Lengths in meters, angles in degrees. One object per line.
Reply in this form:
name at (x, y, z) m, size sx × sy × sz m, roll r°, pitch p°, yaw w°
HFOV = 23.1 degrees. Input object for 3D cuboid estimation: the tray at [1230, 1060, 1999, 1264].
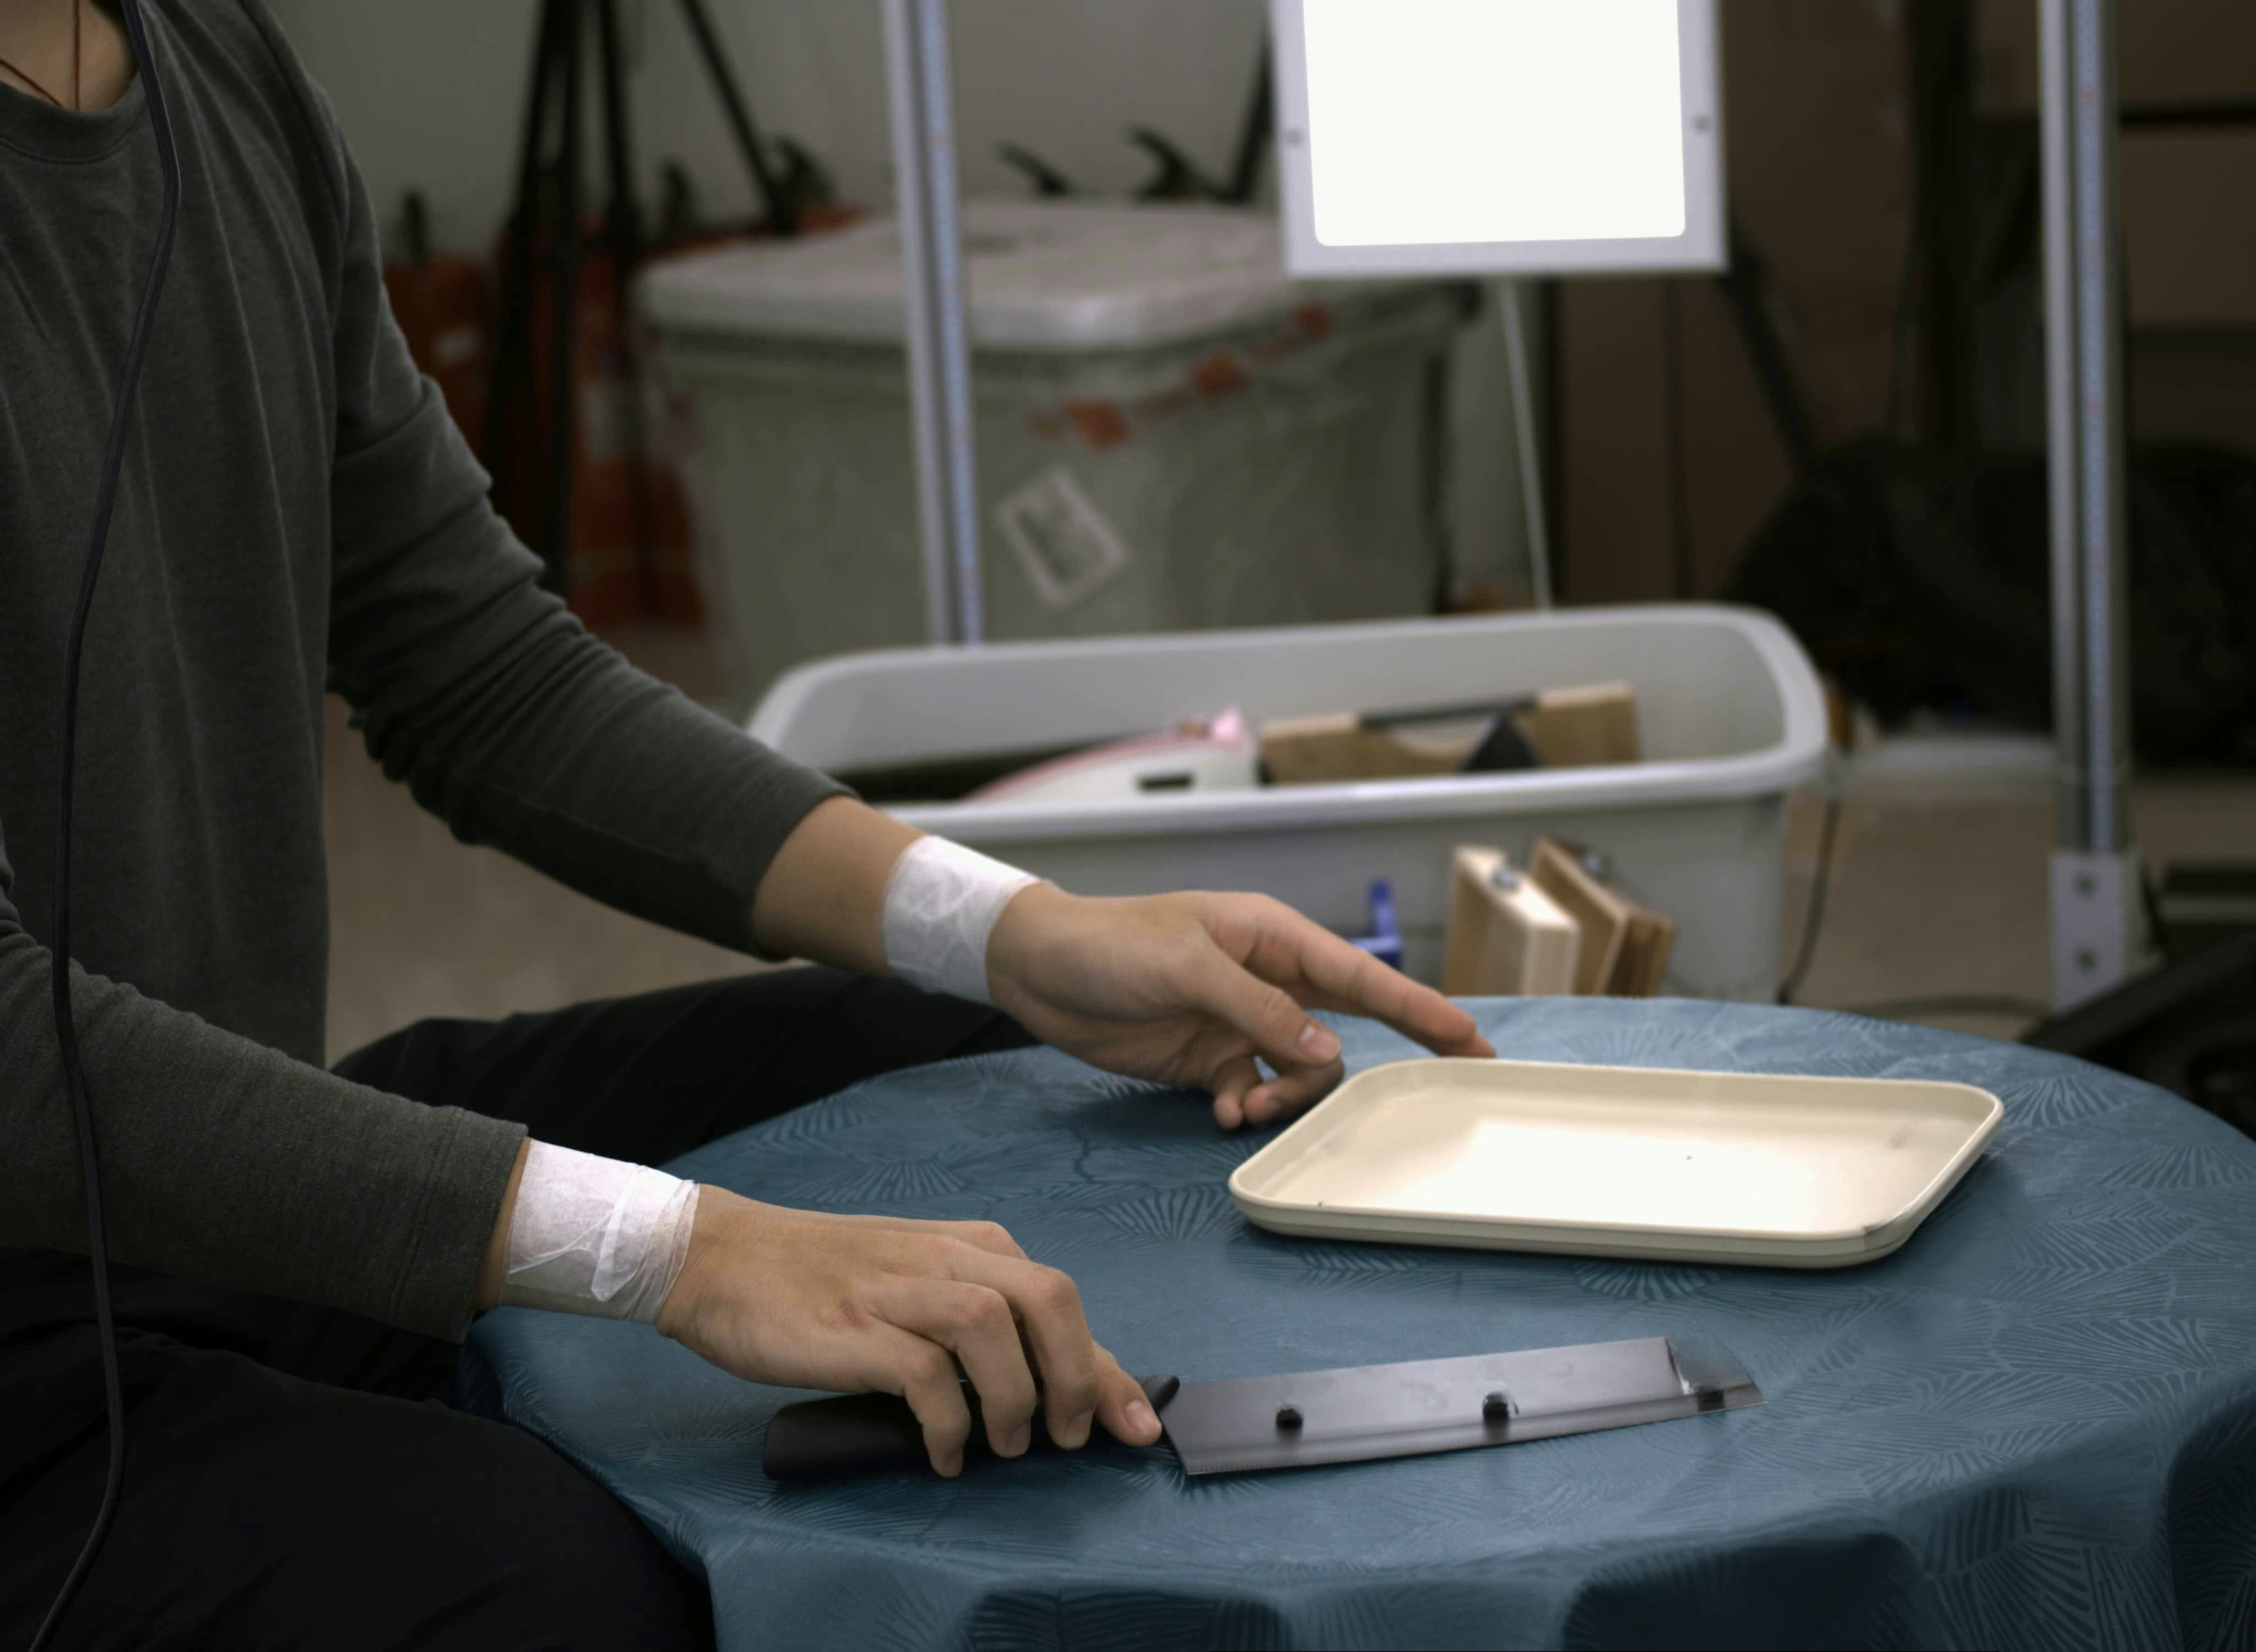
tray at (0.167, 0.113, 1.857) m, size 0.243 × 0.017 × 0.168 m, roll 1°, pitch 14°, yaw 26°

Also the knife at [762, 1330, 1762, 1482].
knife at (0.040, 0.174, 1.655) m, size 0.301 × 0.021 × 0.081 m, roll -5°, pitch 10°, yaw -3°
